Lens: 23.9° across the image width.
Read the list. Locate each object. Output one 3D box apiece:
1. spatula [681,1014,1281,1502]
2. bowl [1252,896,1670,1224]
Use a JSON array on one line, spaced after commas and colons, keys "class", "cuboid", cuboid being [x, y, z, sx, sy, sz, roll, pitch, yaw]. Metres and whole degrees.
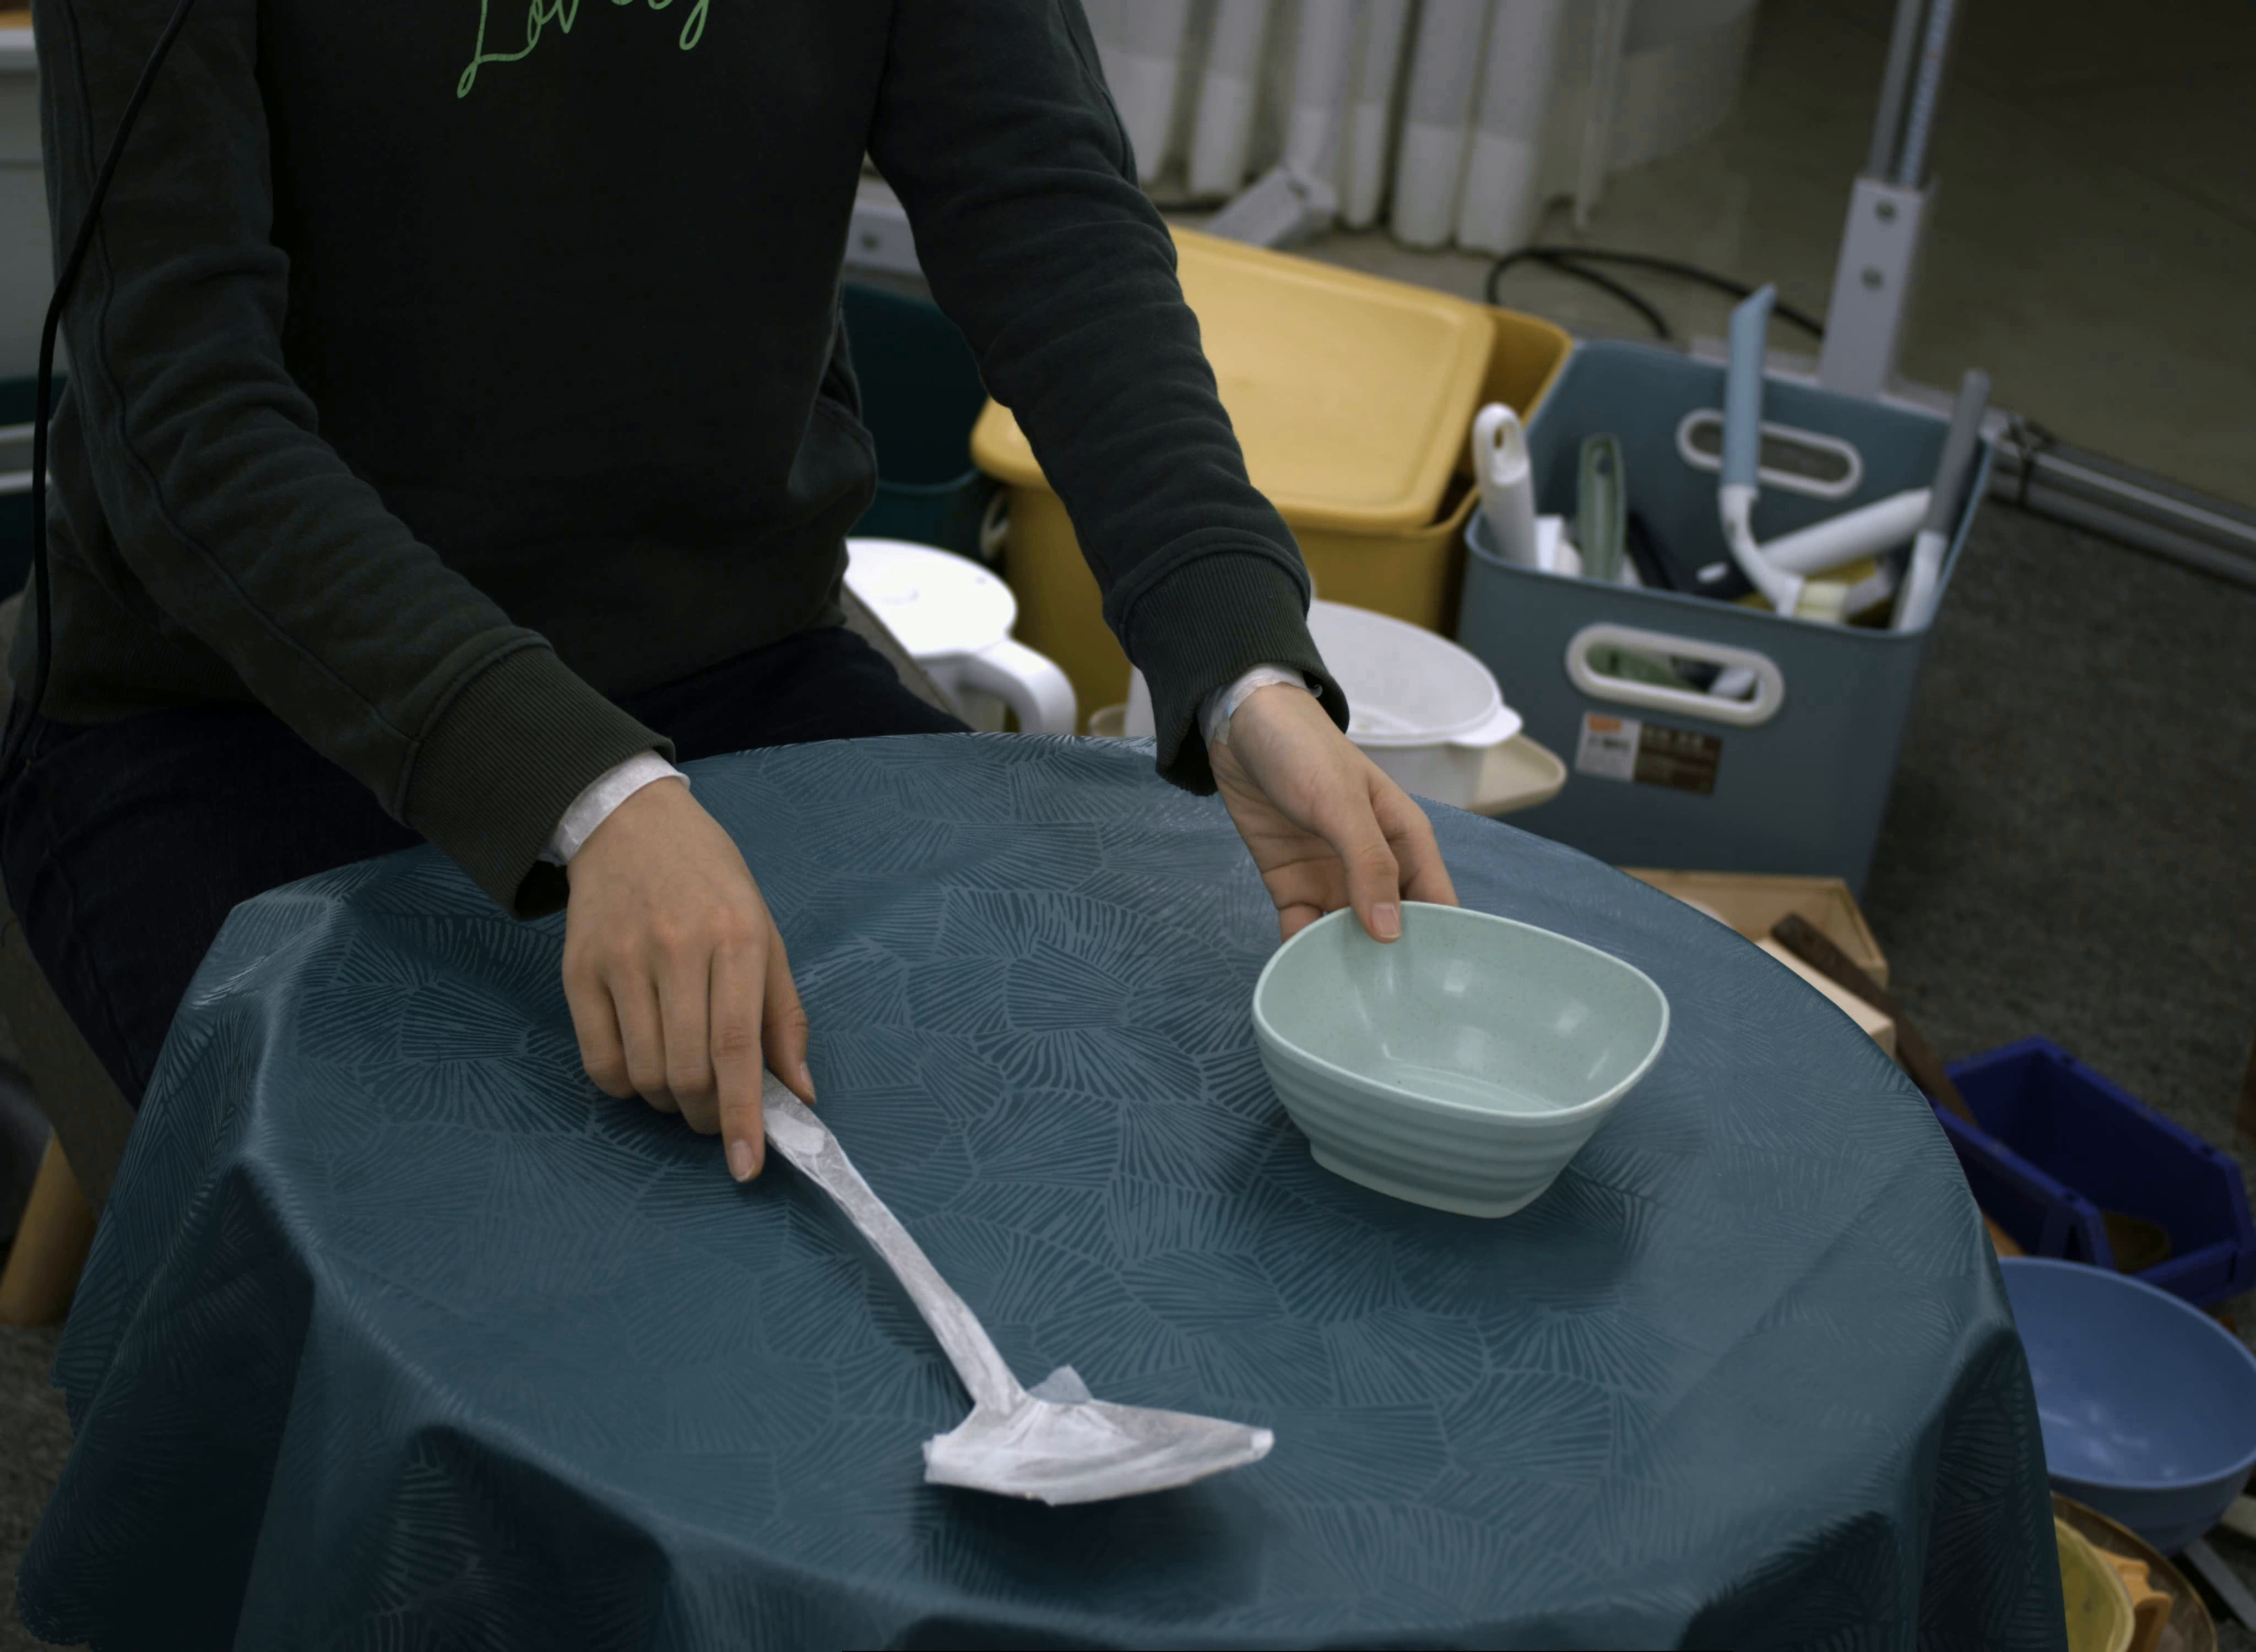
[{"class": "spatula", "cuboid": [-0.072, 0.131, 1.725, 0.098, 0.044, 0.368, -10, 31, -26]}, {"class": "bowl", "cuboid": [0.111, 0.087, 1.837, 0.151, 0.058, 0.152, 6, 29, -4]}]
